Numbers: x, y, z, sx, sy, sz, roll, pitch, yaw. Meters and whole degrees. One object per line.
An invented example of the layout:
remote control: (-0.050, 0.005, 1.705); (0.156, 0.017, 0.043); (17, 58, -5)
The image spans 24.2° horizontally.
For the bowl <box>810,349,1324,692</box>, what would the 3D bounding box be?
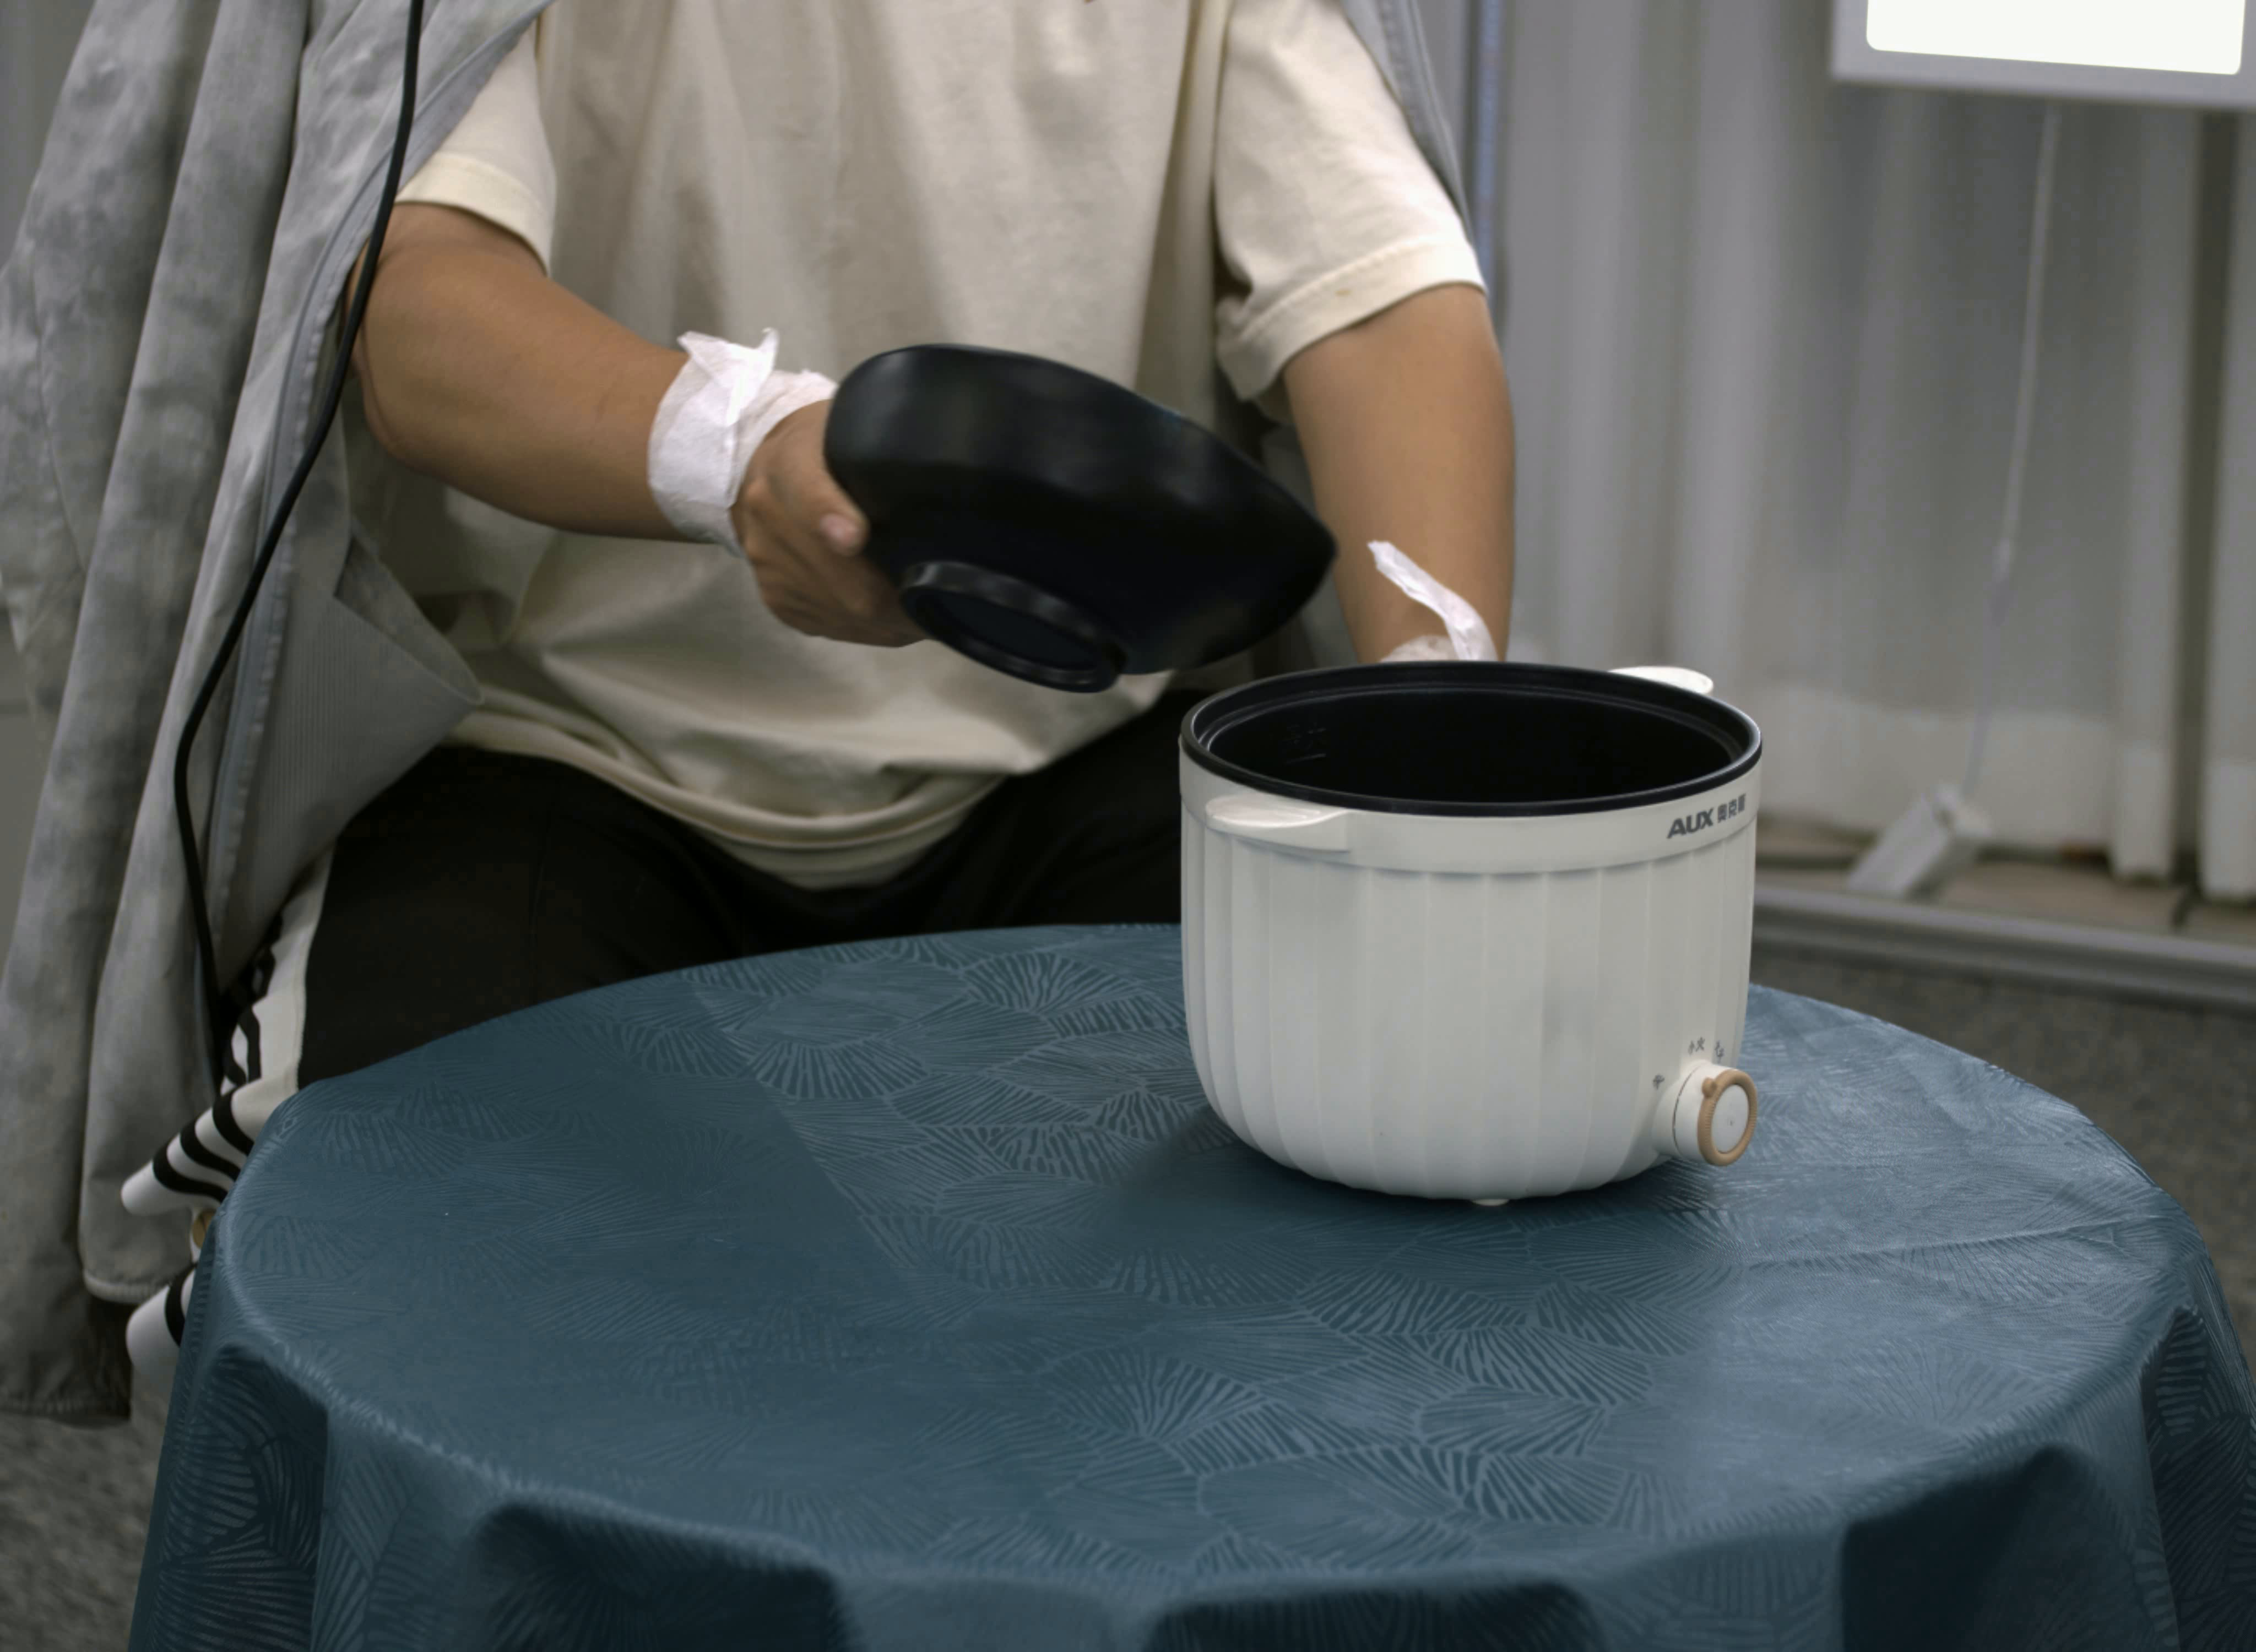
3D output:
bowl: (-0.028, -0.083, 1.556); (0.168, 0.066, 0.139); (11, -18, 32)

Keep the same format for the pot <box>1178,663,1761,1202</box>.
pot: (0.111, 0.034, 1.652); (0.188, 0.144, 0.241); (9, 18, 37)
